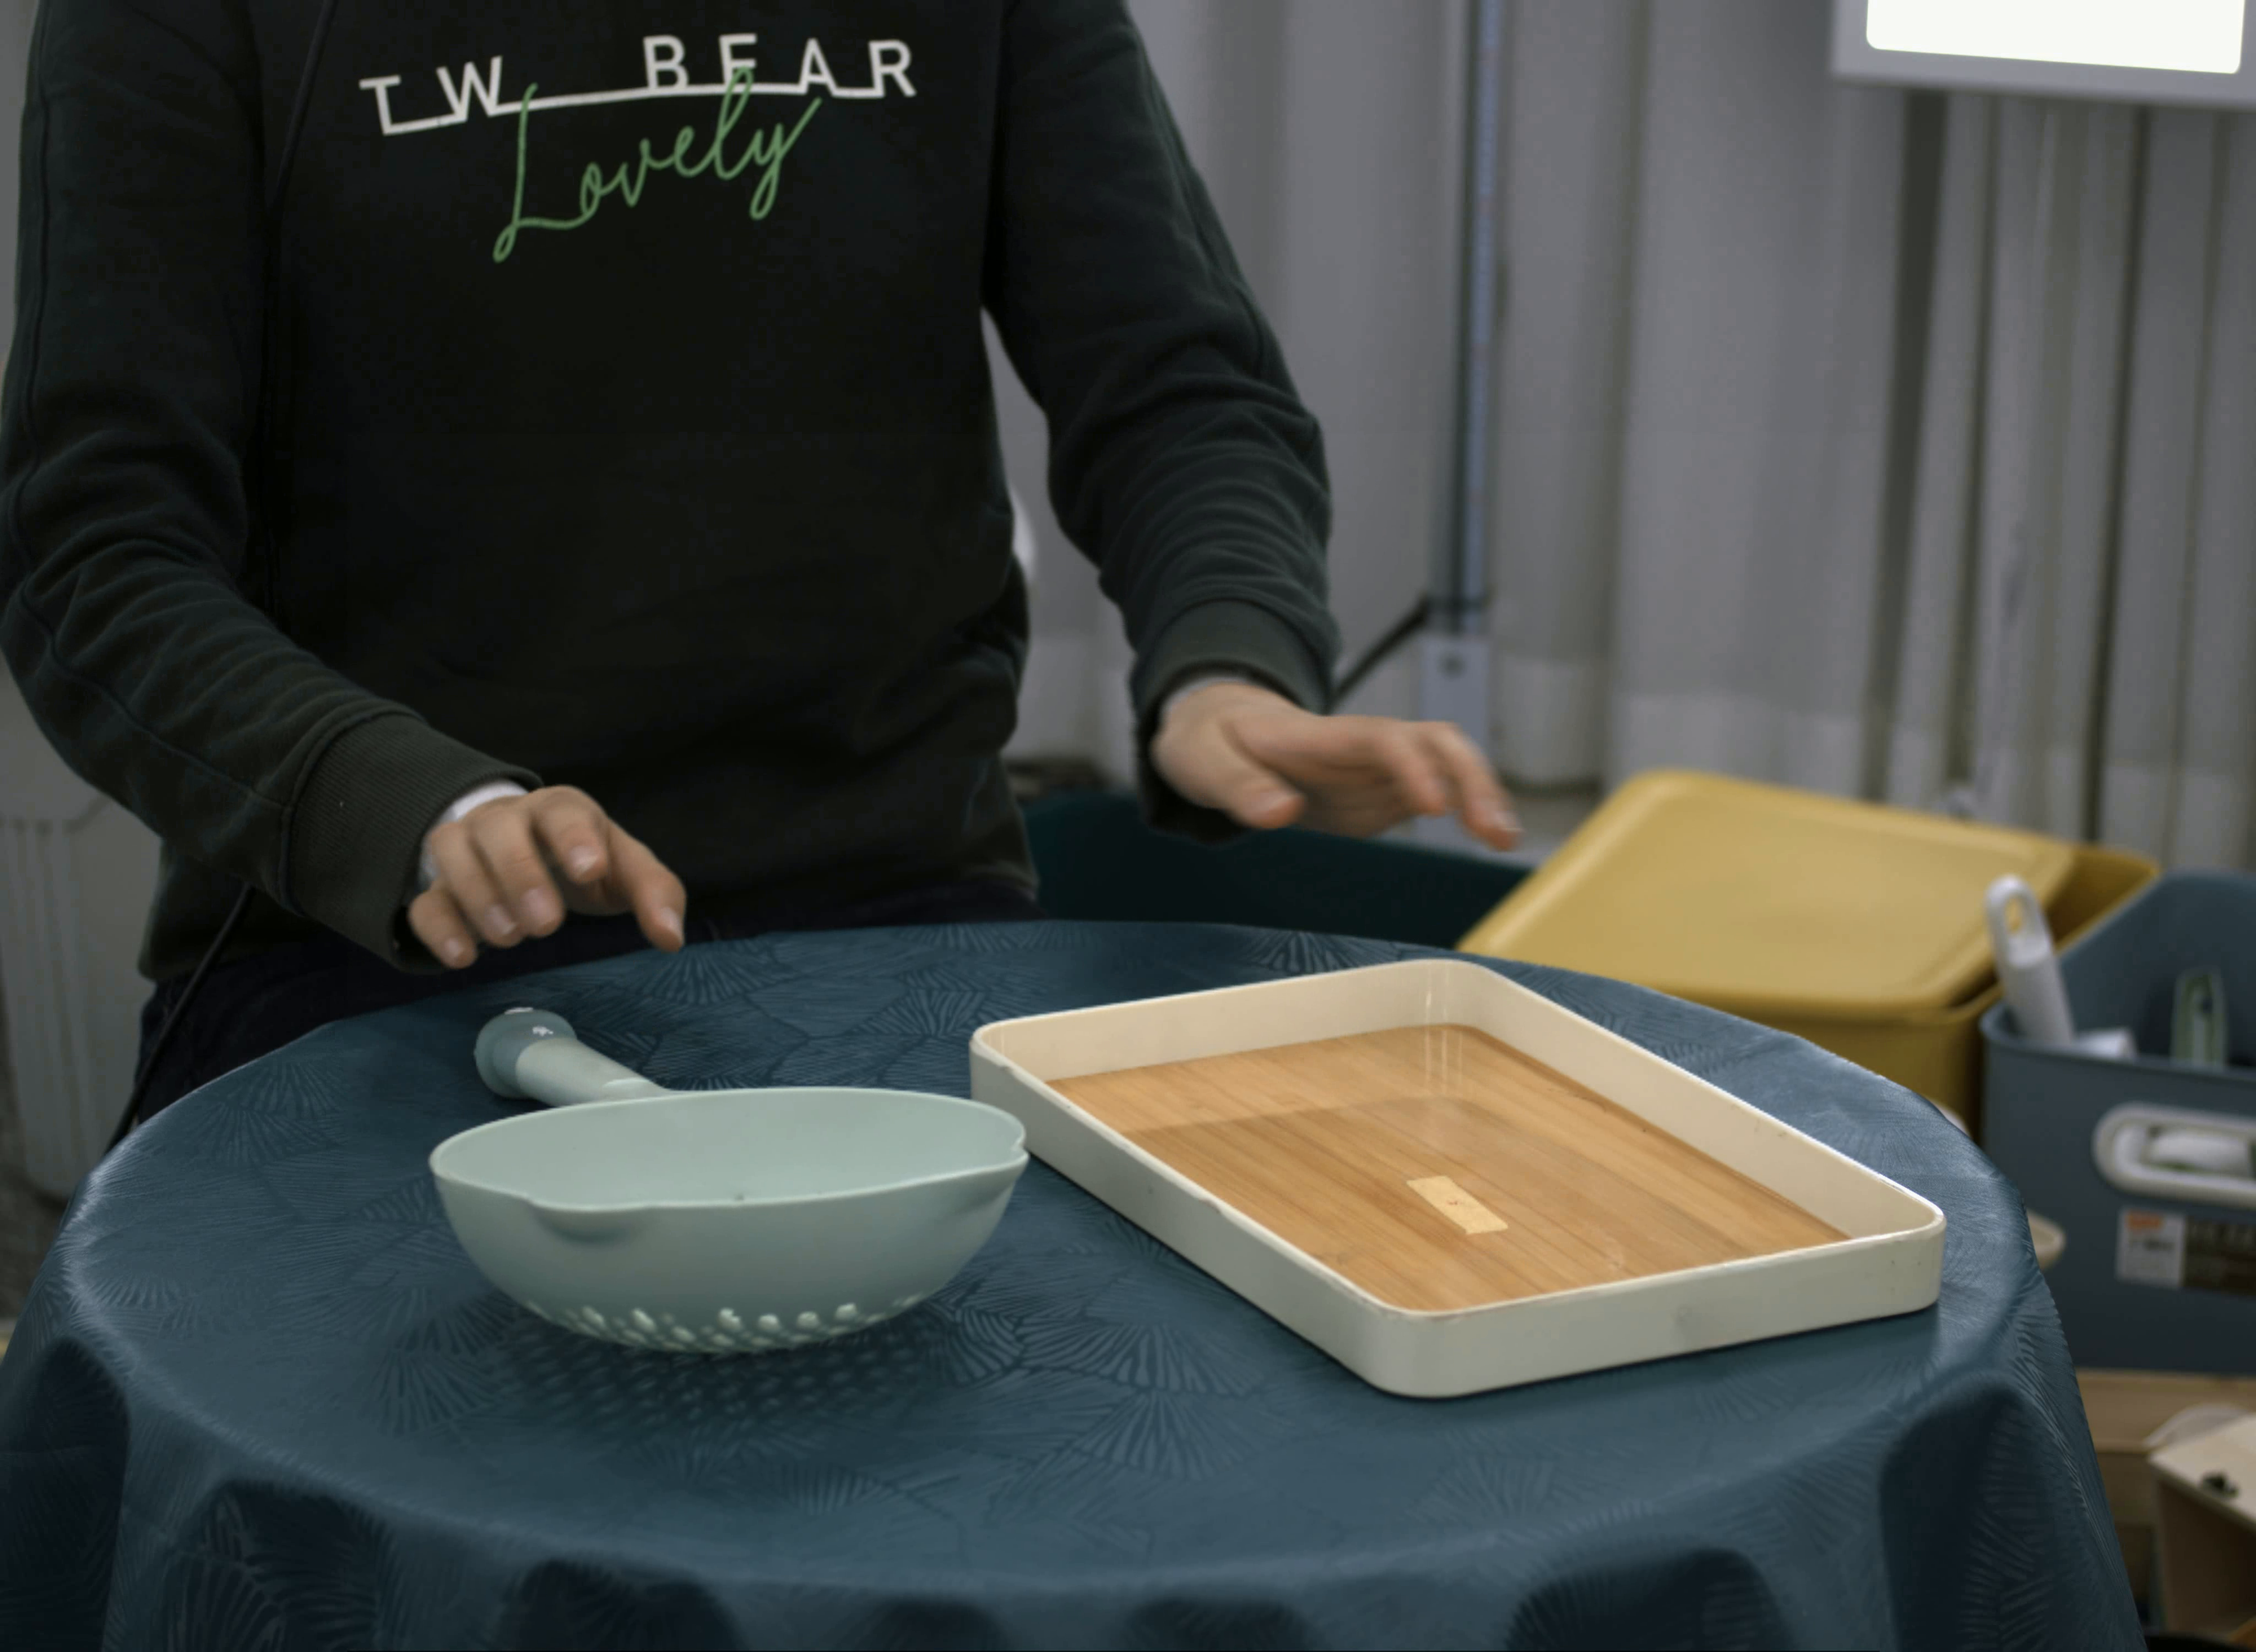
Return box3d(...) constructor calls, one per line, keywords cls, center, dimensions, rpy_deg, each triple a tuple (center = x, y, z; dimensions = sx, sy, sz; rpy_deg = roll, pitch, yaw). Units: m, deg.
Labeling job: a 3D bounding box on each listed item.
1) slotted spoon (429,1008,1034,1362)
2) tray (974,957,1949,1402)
box3d(cls="slotted spoon", center=(-0.145, 0.091, 1.579), dimensions=(0.170, 0.076, 0.355), rpy_deg=(-4, 17, -20))
box3d(cls="tray", center=(0.095, 0.103, 1.617), dimensions=(0.192, 0.027, 0.296), rpy_deg=(-7, 18, -26))
